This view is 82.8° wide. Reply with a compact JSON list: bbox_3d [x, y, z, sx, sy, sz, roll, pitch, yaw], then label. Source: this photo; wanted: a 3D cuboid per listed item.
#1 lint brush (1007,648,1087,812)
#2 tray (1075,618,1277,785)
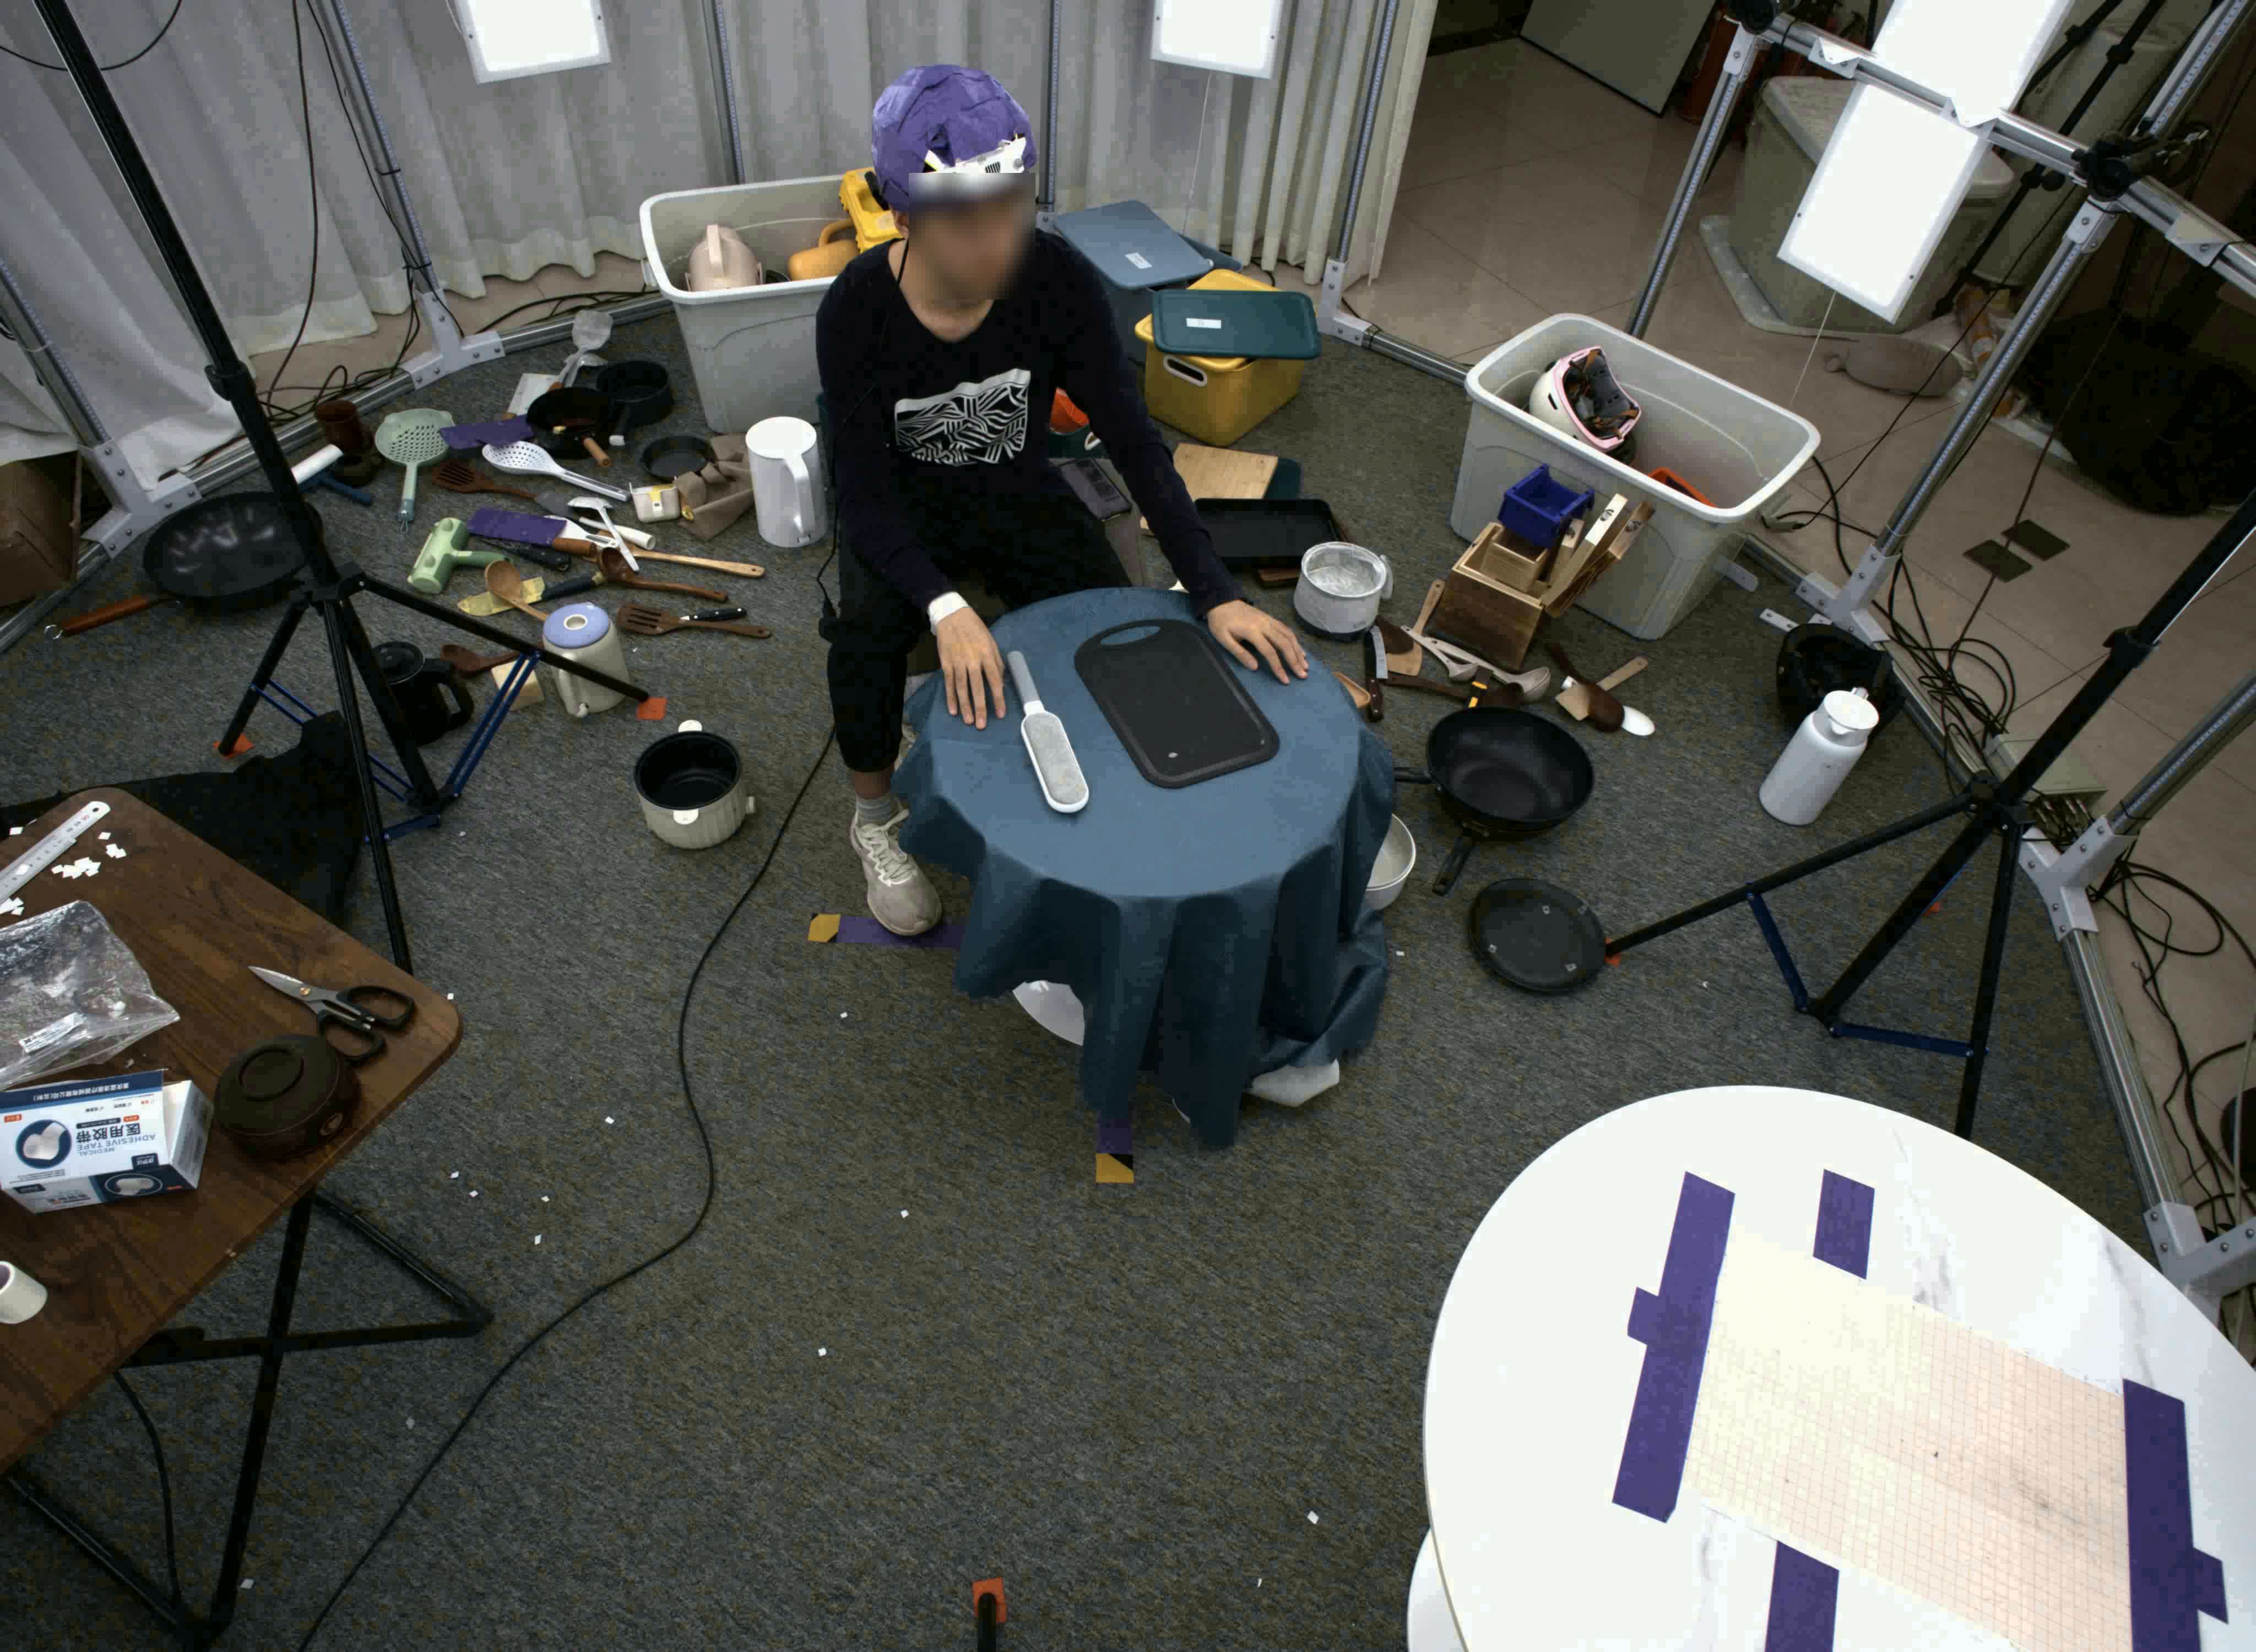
[{"bbox_3d":[-0.118,-0.138,1.761,0.060,0.020,0.316,-14,51,-9],"label":"lint brush"},{"bbox_3d":[0.060,-0.190,1.832,0.211,0.009,0.333,-16,52,-18],"label":"tray"}]
